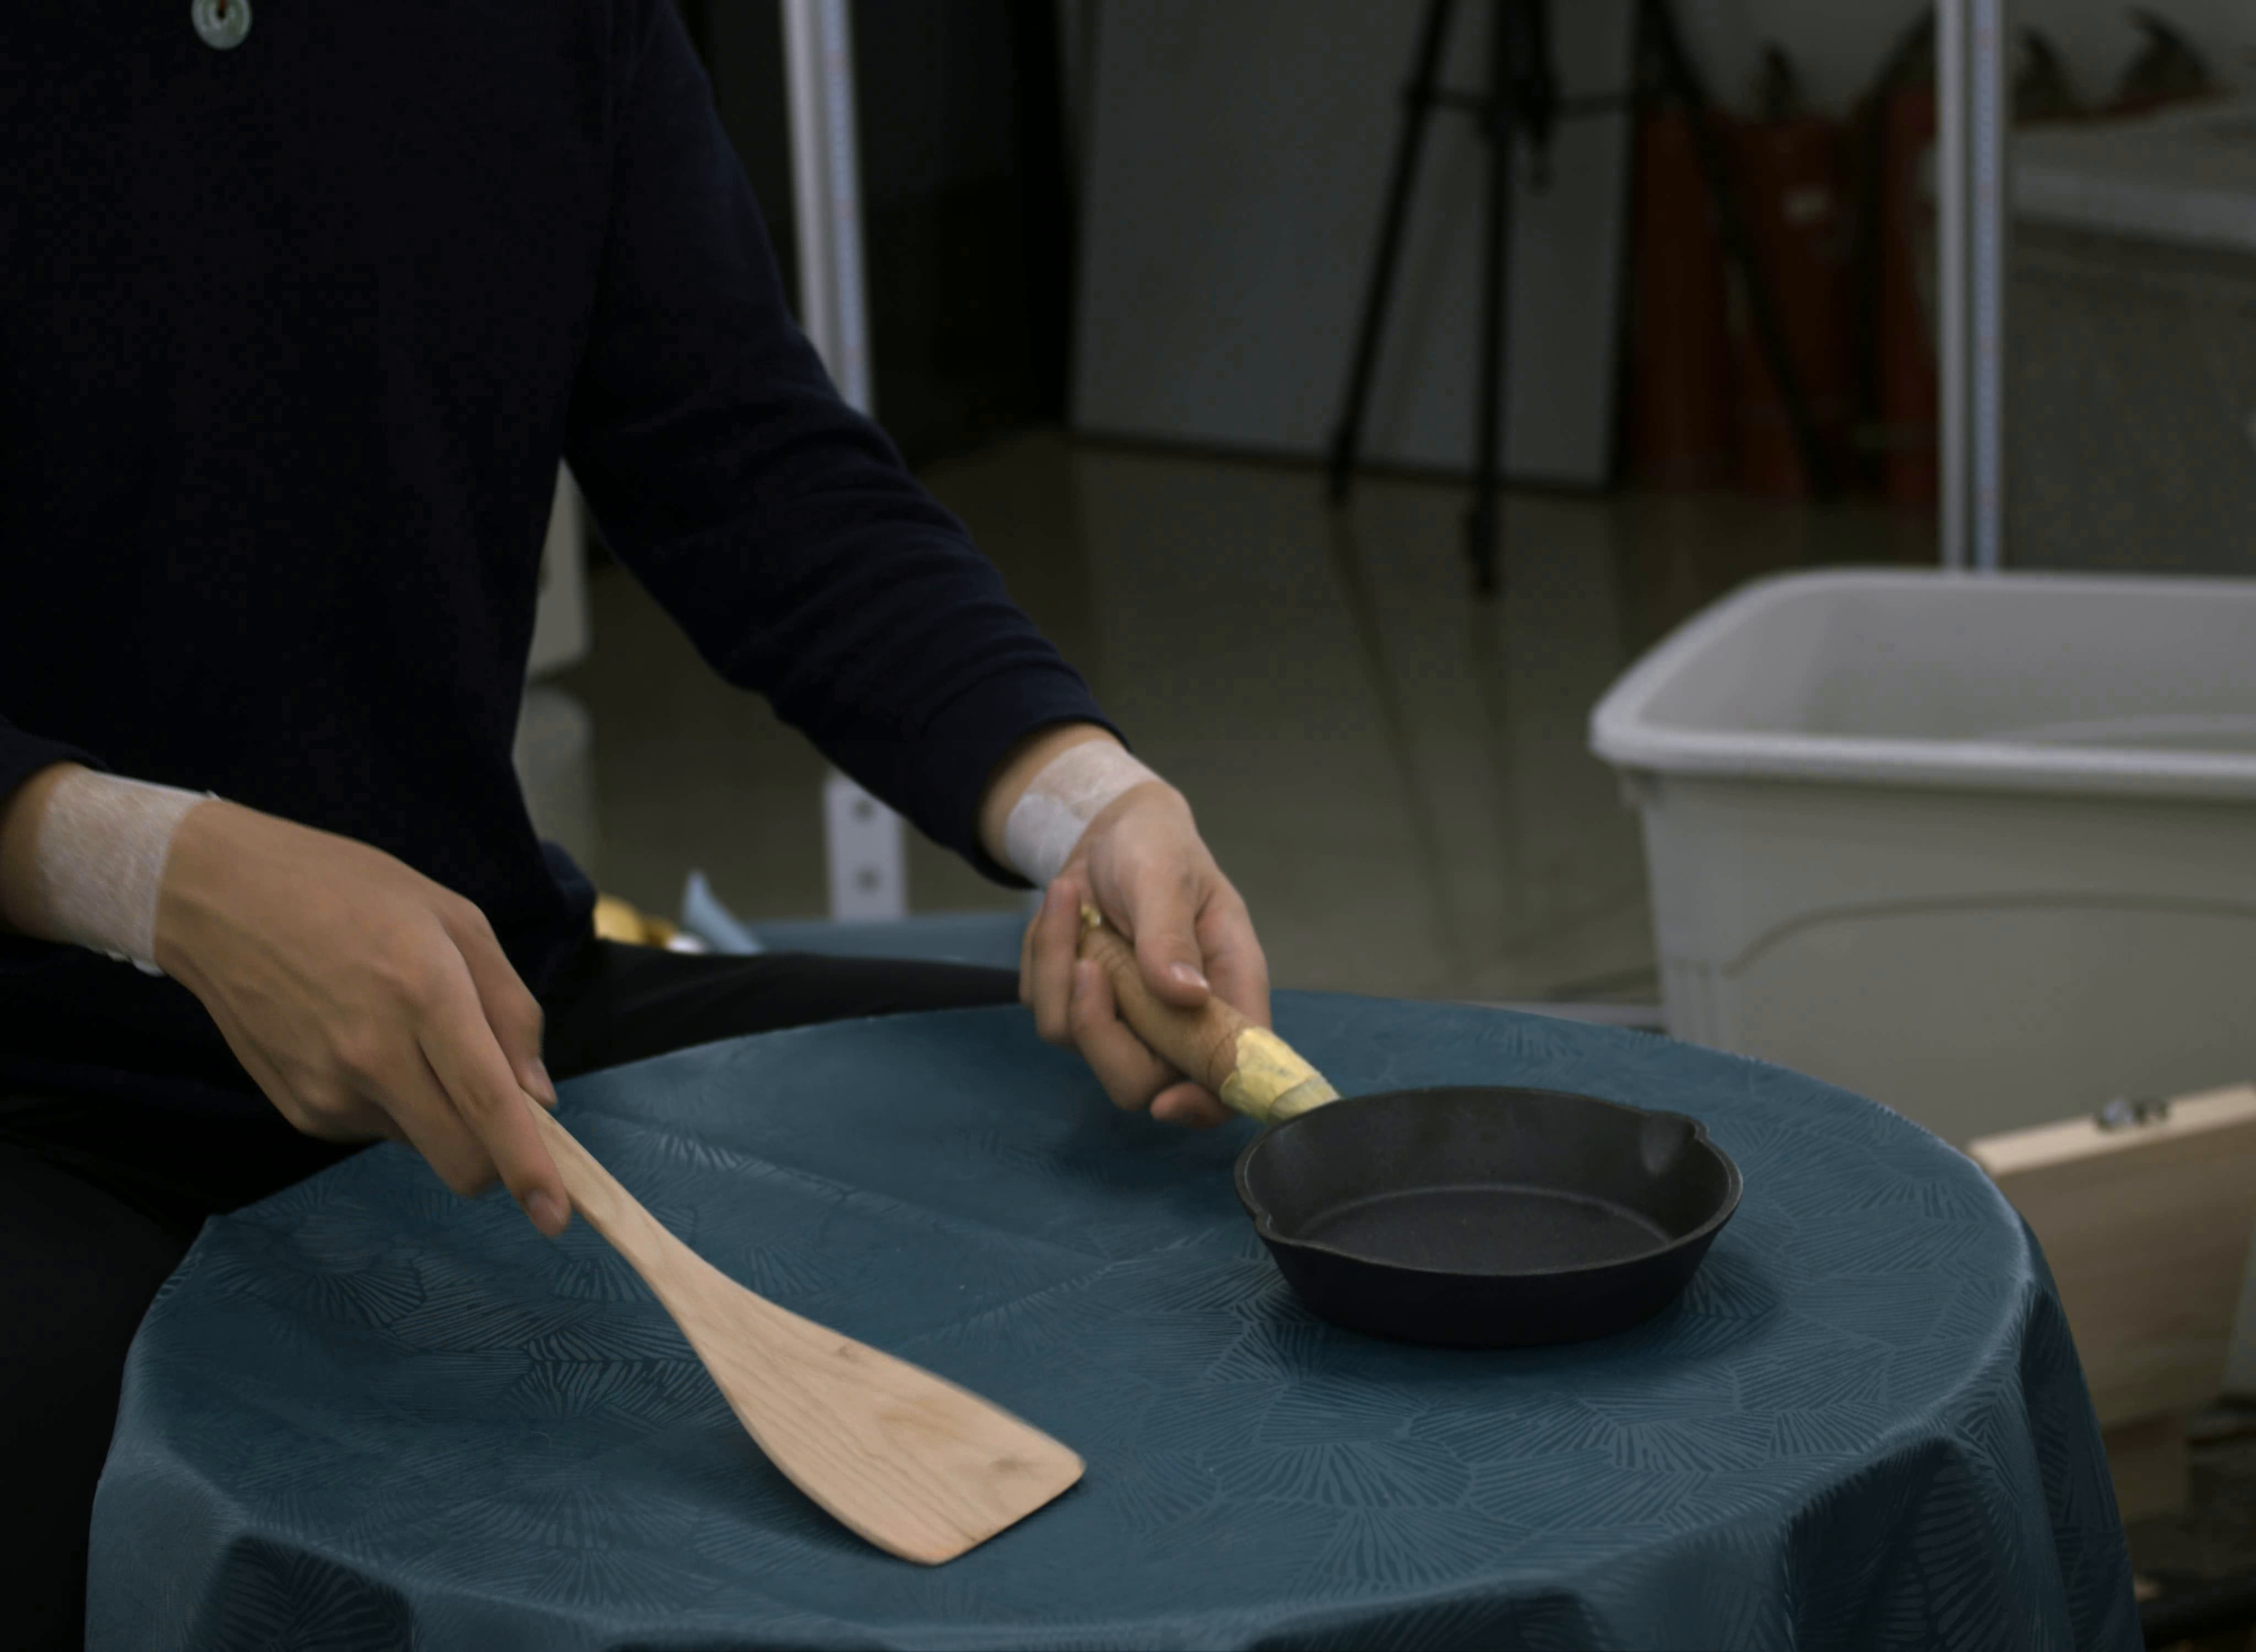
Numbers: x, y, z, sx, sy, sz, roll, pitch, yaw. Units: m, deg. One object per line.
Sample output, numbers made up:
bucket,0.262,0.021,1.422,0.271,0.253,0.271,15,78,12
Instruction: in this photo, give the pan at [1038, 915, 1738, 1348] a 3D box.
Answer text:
pan,0.065,0.093,1.720,0.165,0.050,0.328,-12,21,-30

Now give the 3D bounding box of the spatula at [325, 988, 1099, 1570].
spatula,-0.133,0.124,1.581,0.078,0.017,0.331,-19,40,-38
